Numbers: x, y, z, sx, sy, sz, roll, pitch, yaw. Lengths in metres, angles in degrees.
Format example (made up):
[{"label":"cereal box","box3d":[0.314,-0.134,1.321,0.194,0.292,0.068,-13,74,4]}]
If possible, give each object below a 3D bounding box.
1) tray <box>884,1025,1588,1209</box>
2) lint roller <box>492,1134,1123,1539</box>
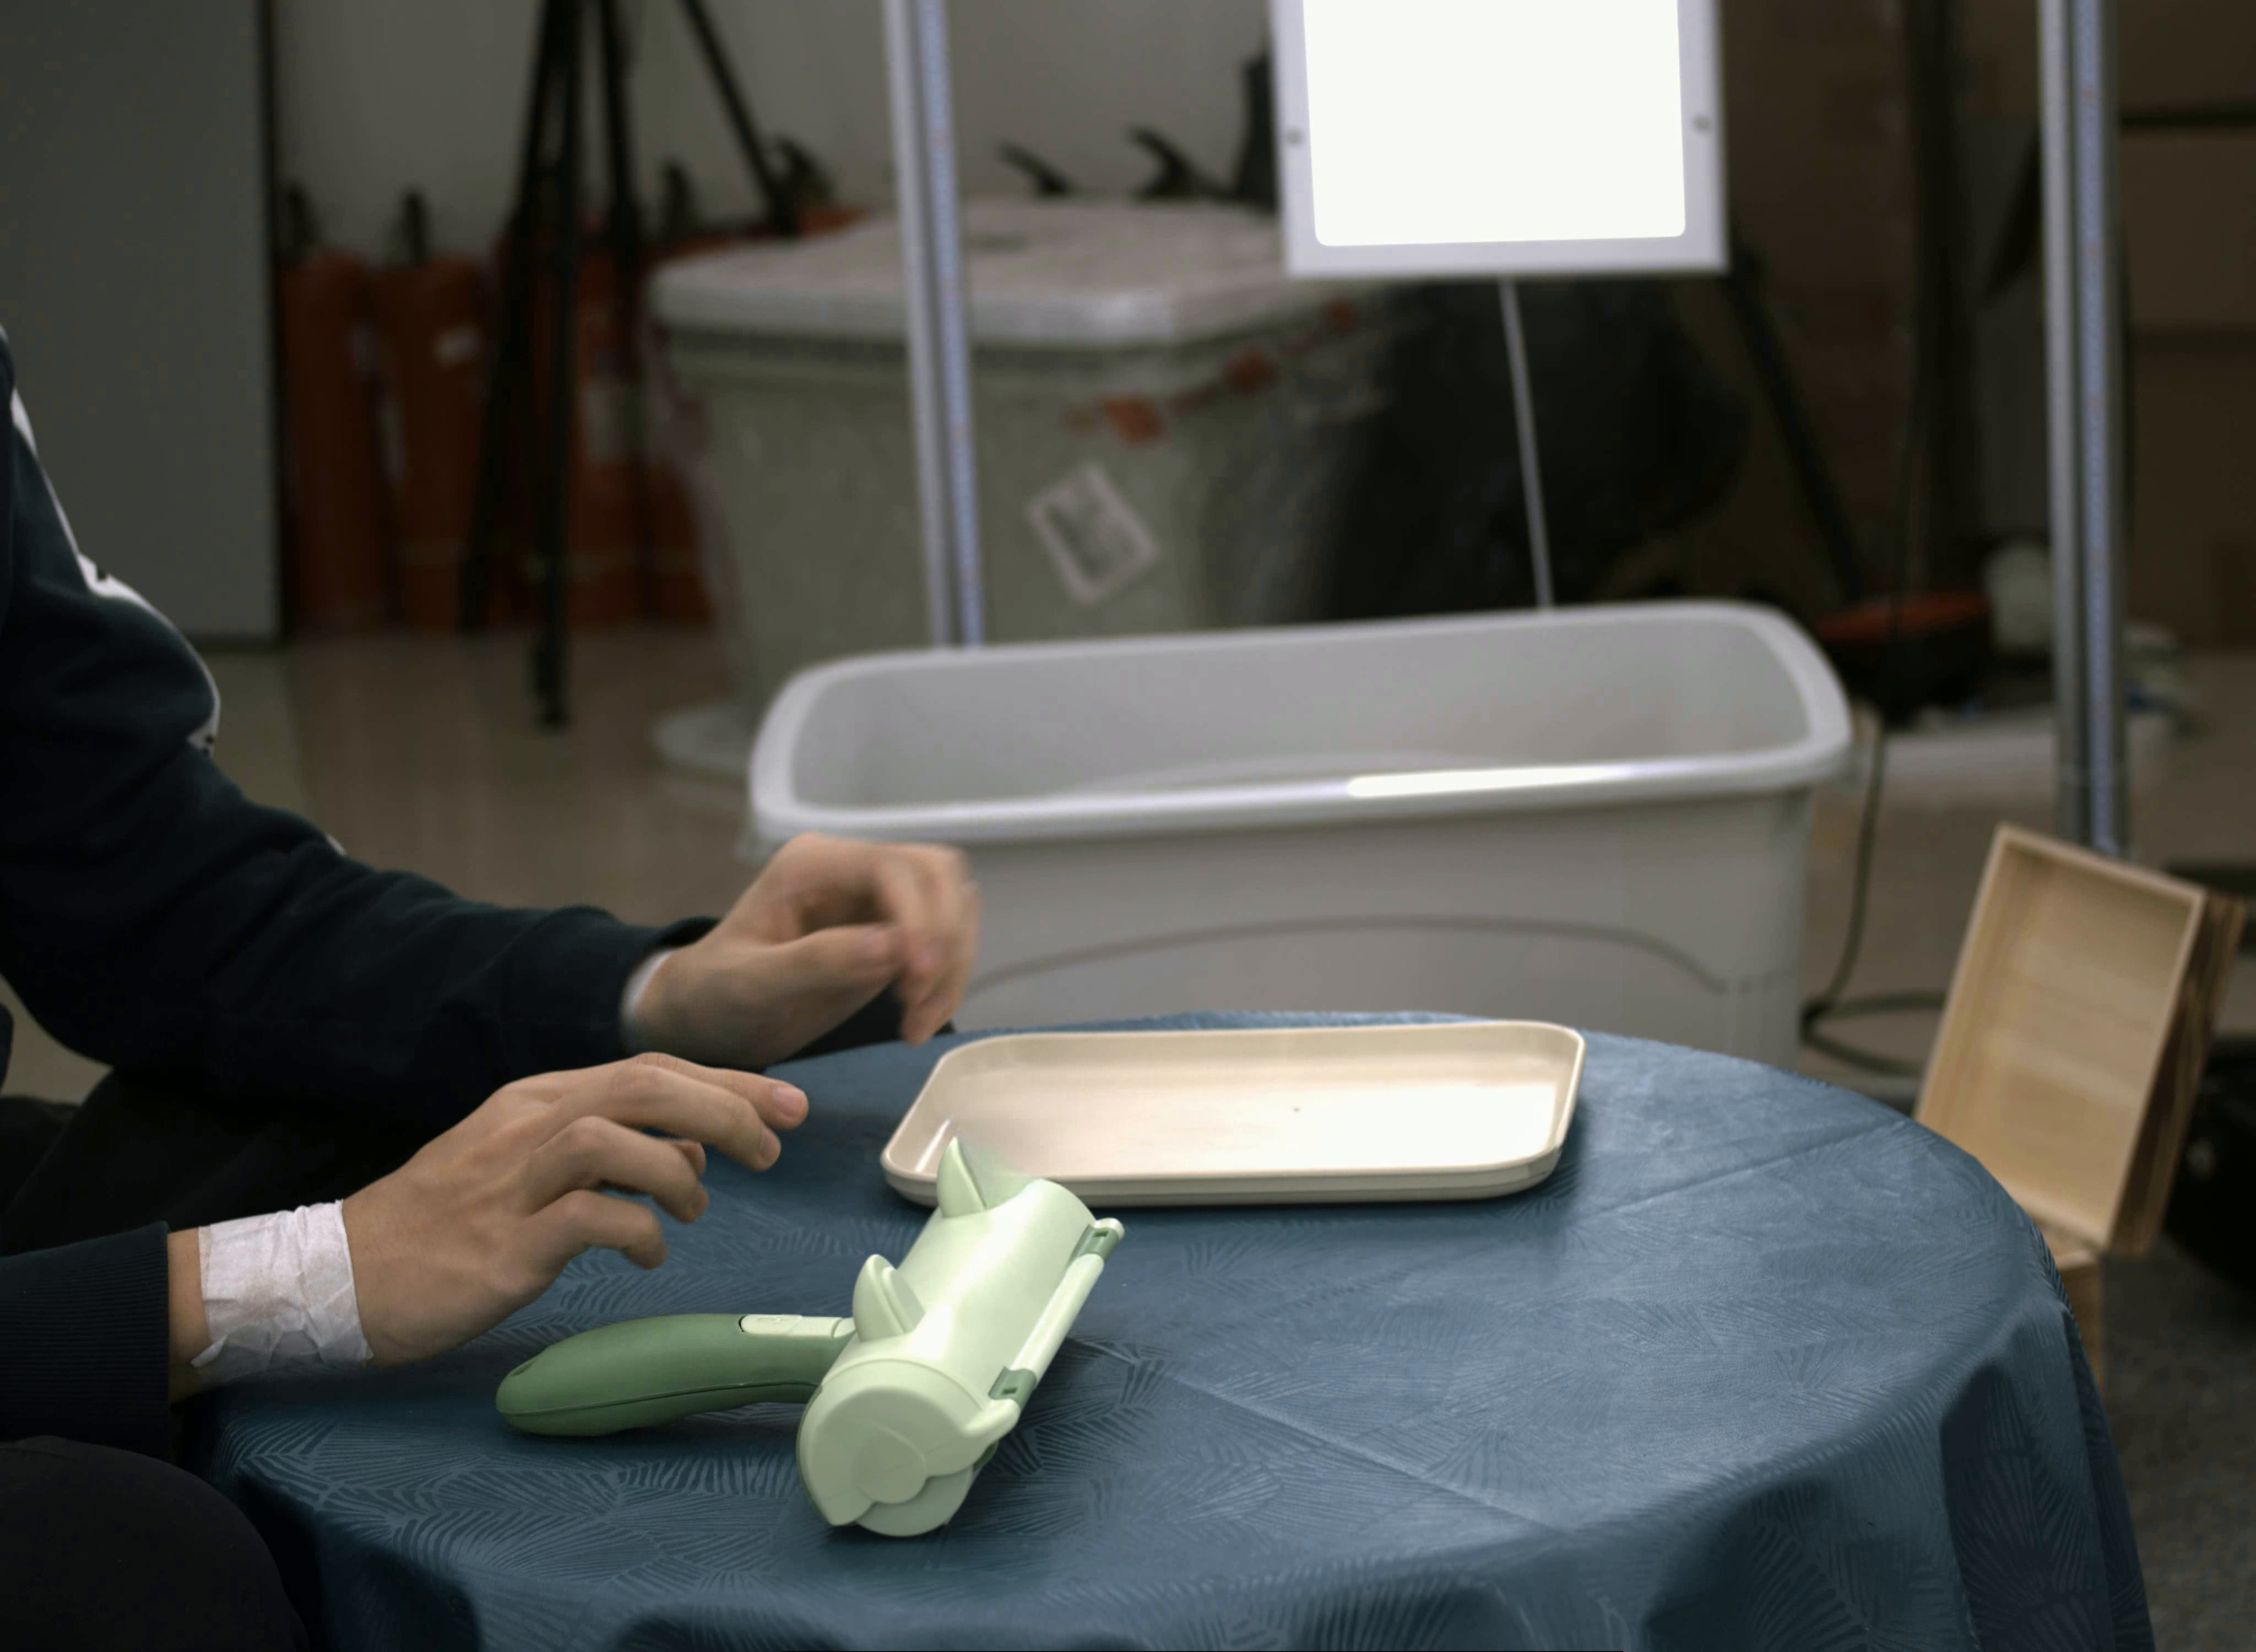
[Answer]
[{"label":"tray","box3d":[0.041,0.103,1.937,0.241,0.017,0.169,-2,13,11]},{"label":"lint roller","box3d":[-0.107,0.148,1.683,0.184,0.082,0.196,2,15,12]}]
